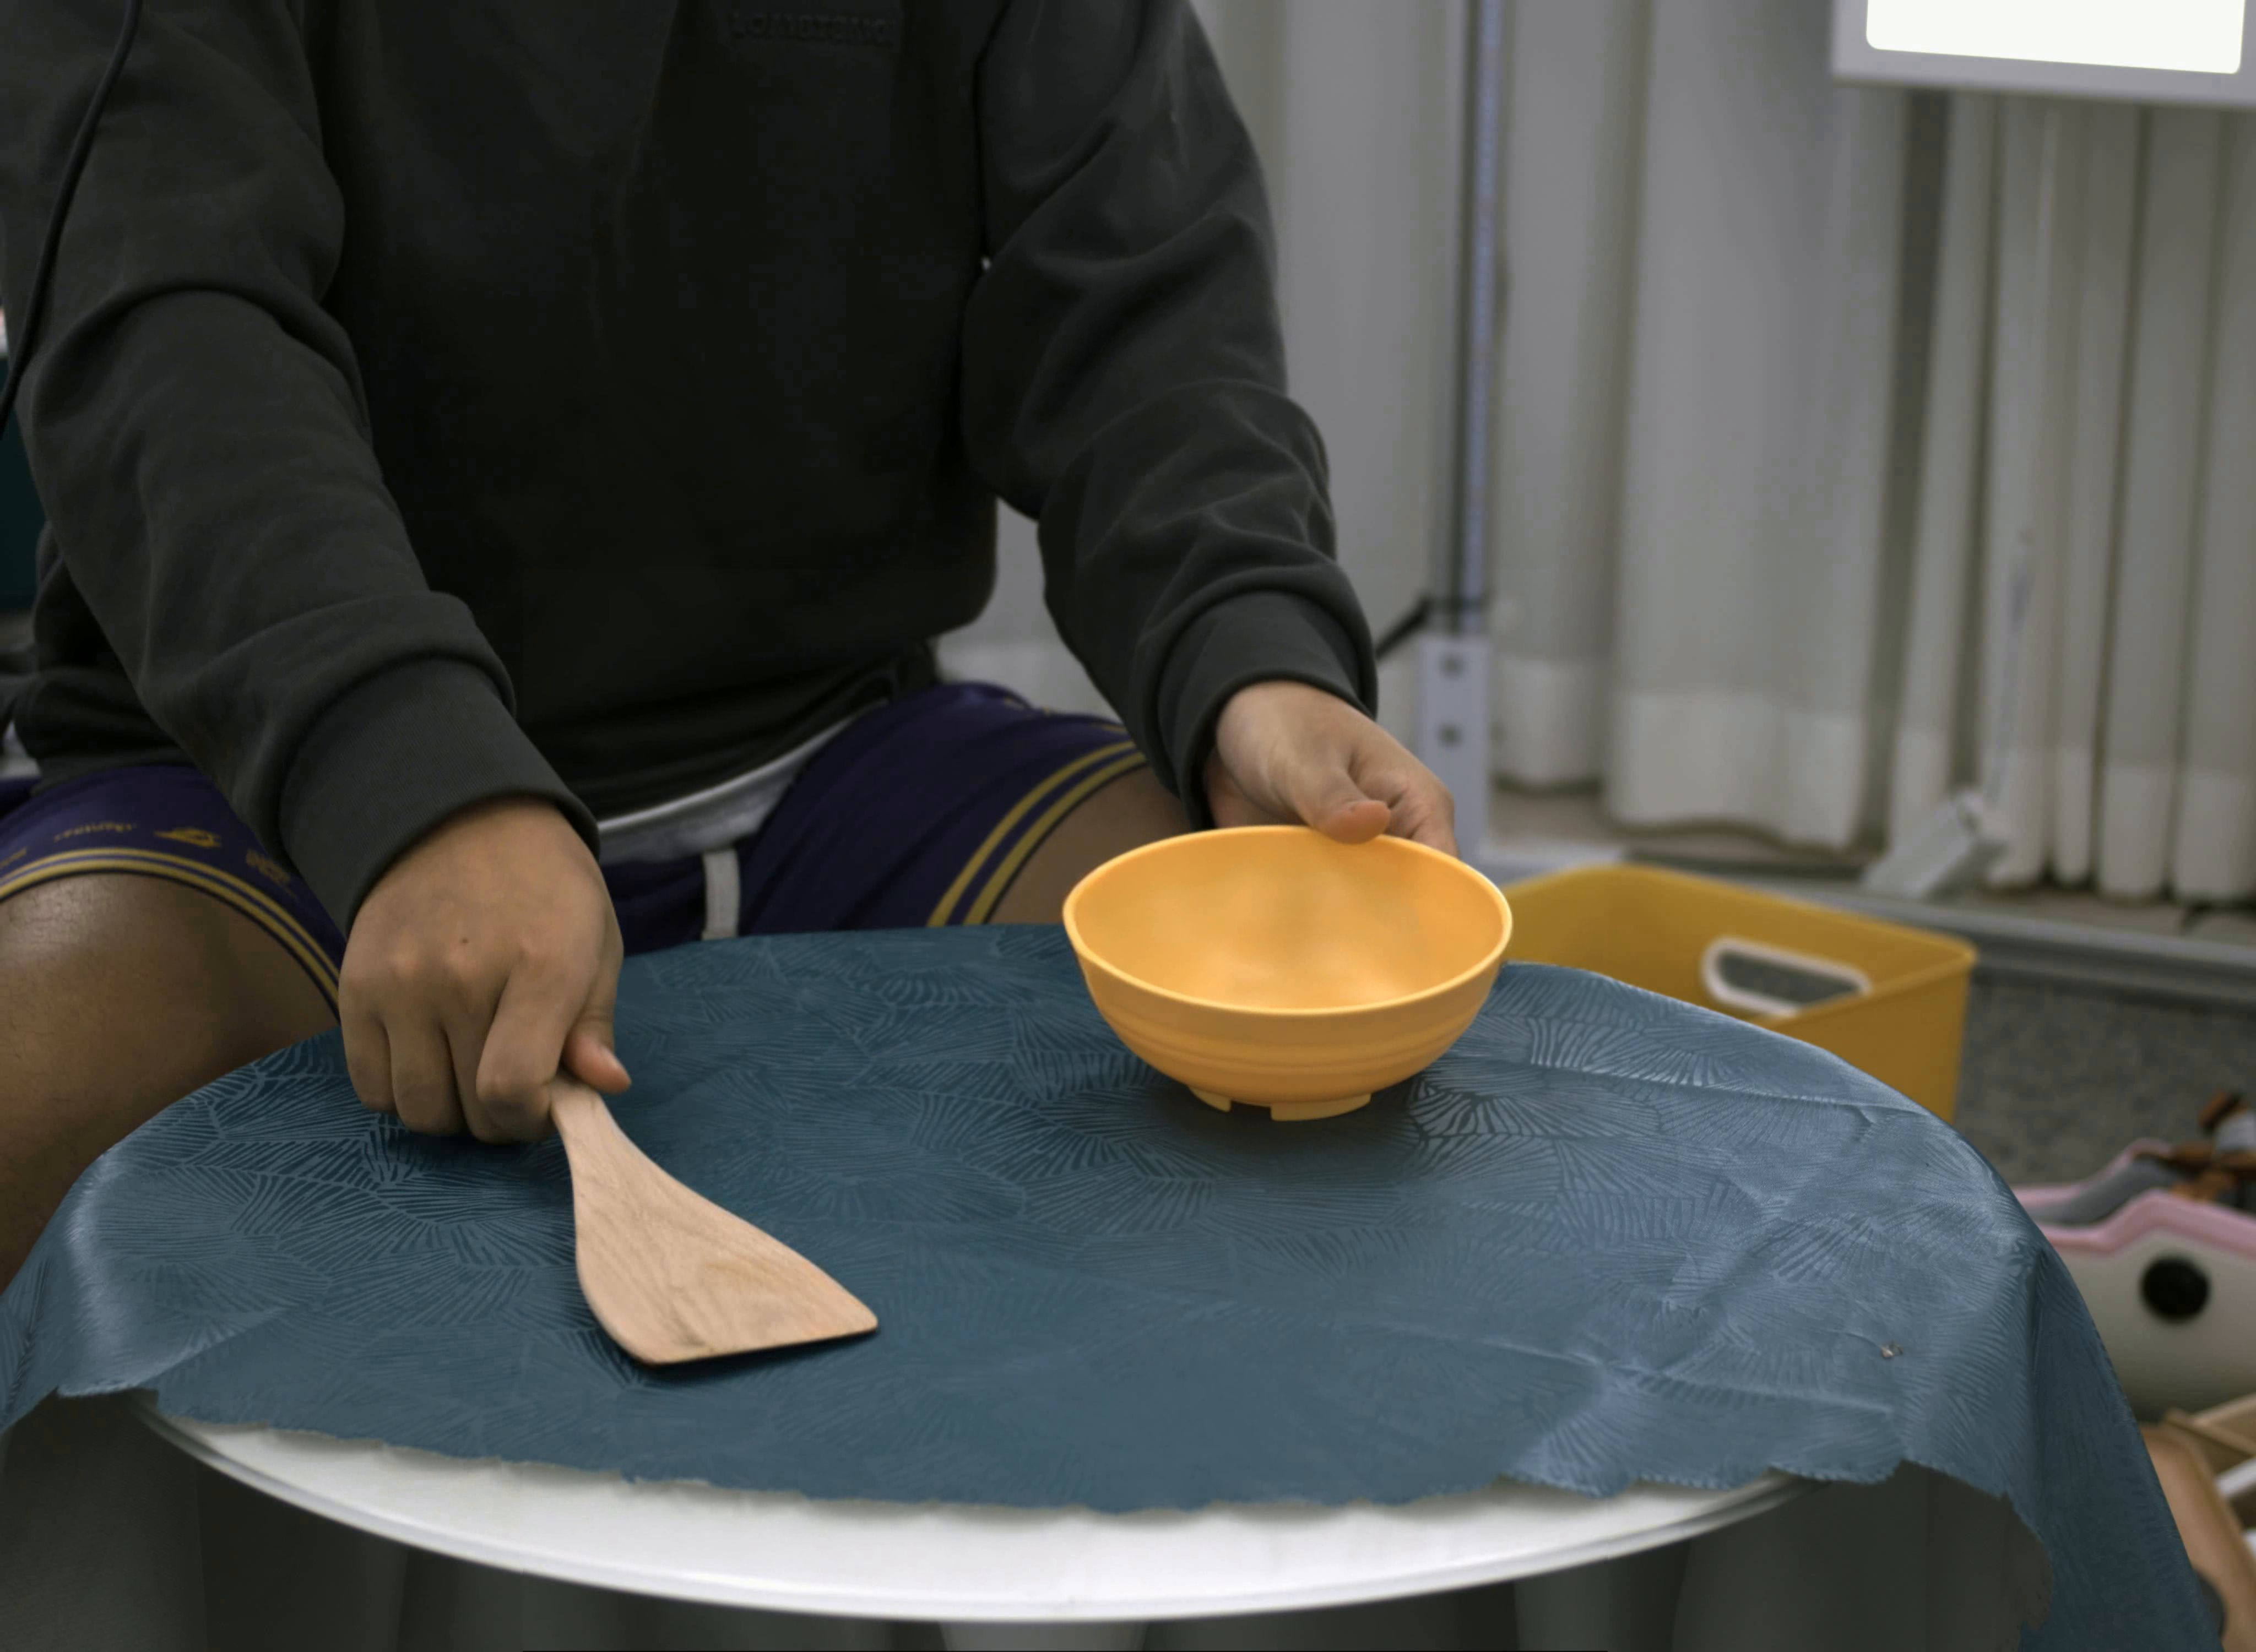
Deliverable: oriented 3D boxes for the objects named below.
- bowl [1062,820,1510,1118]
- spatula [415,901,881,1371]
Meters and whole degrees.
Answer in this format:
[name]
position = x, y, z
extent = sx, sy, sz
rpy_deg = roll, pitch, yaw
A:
[bowl]
position = 0.050, 0.054, 1.708
extent = 0.145, 0.061, 0.144
rpy_deg = 3, 24, -1
[spatula]
position = -0.162, 0.089, 1.606
extent = 0.080, 0.016, 0.323
rpy_deg = -3, 26, -24
